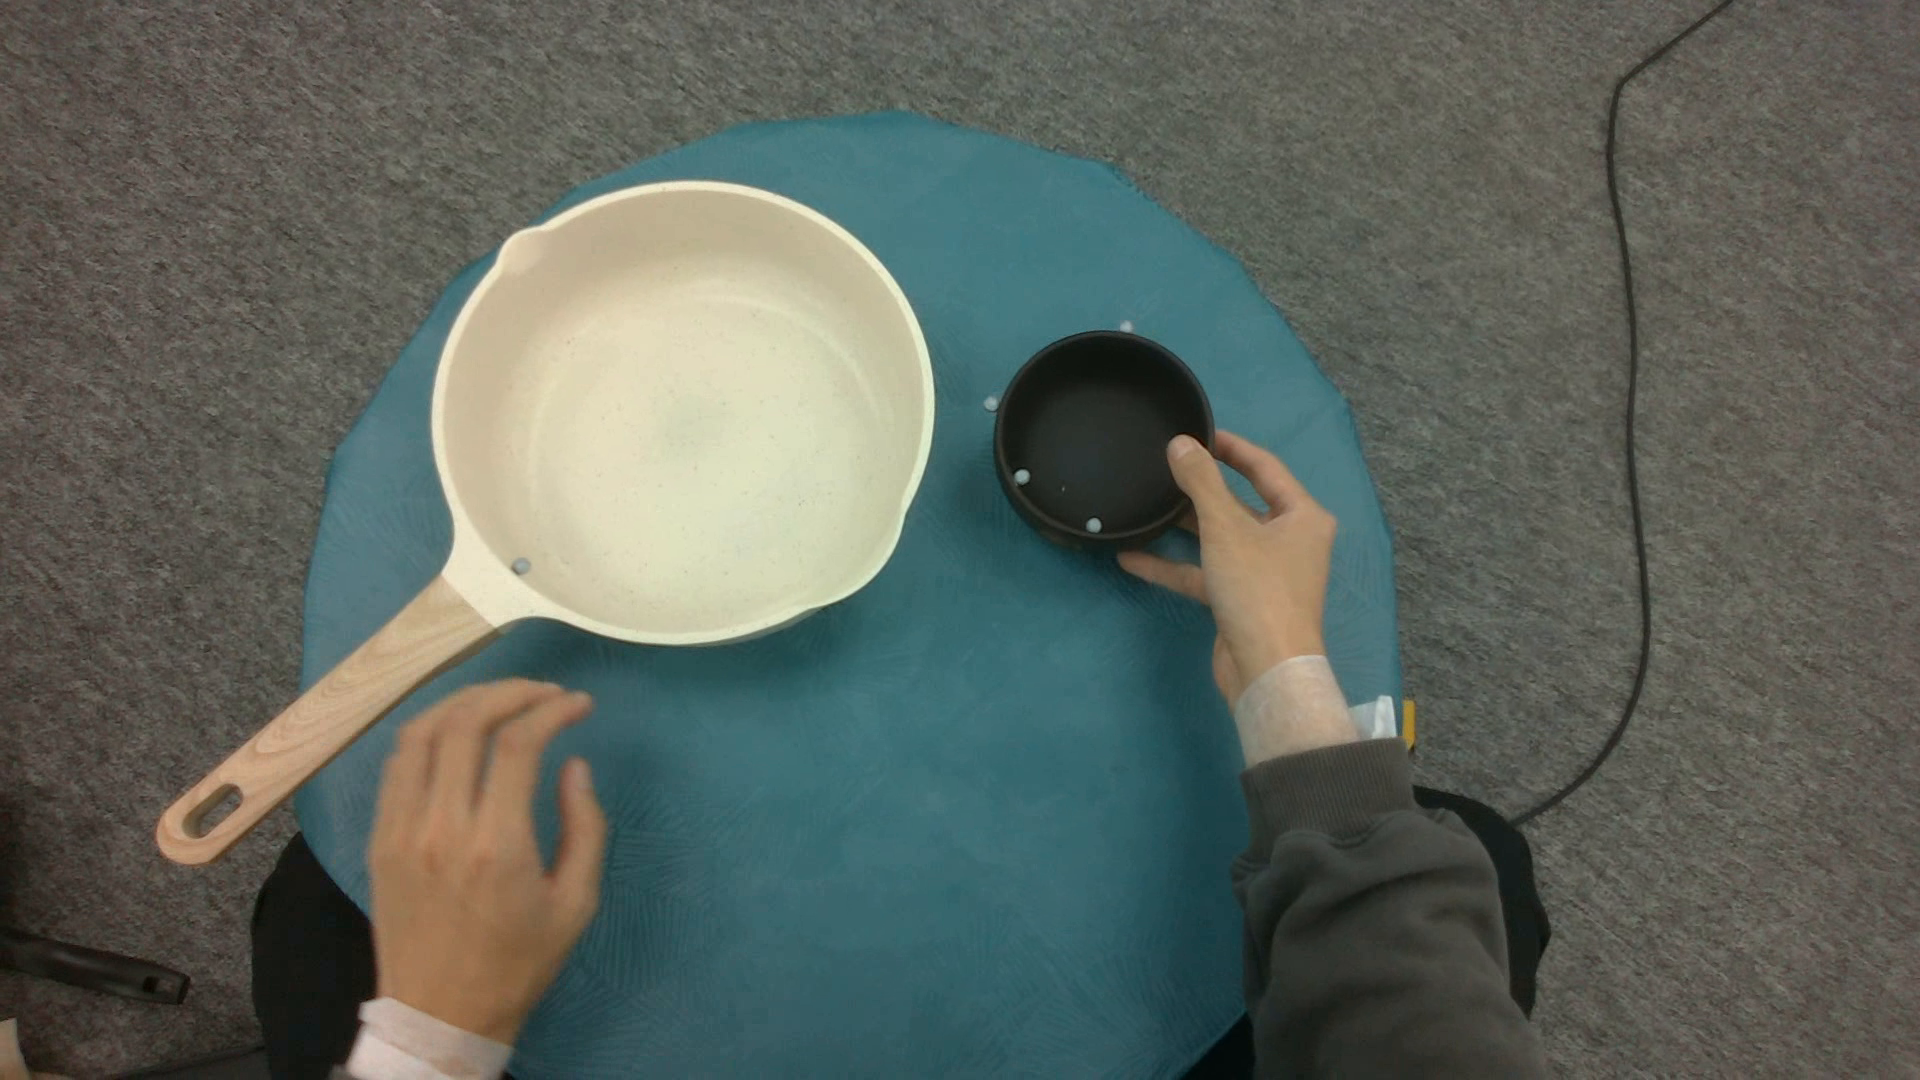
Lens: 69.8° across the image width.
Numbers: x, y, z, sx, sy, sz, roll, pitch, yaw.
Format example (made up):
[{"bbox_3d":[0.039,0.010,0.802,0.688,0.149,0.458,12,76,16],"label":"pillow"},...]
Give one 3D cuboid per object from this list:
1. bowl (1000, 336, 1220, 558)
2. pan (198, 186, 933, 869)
[{"bbox_3d":[0.081,-0.046,0.757,0.118,0.070,0.118,0,76,1],"label":"bowl"},{"bbox_3d":[-0.203,0.003,0.726,0.263,0.102,0.436,42,78,8],"label":"pan"}]
